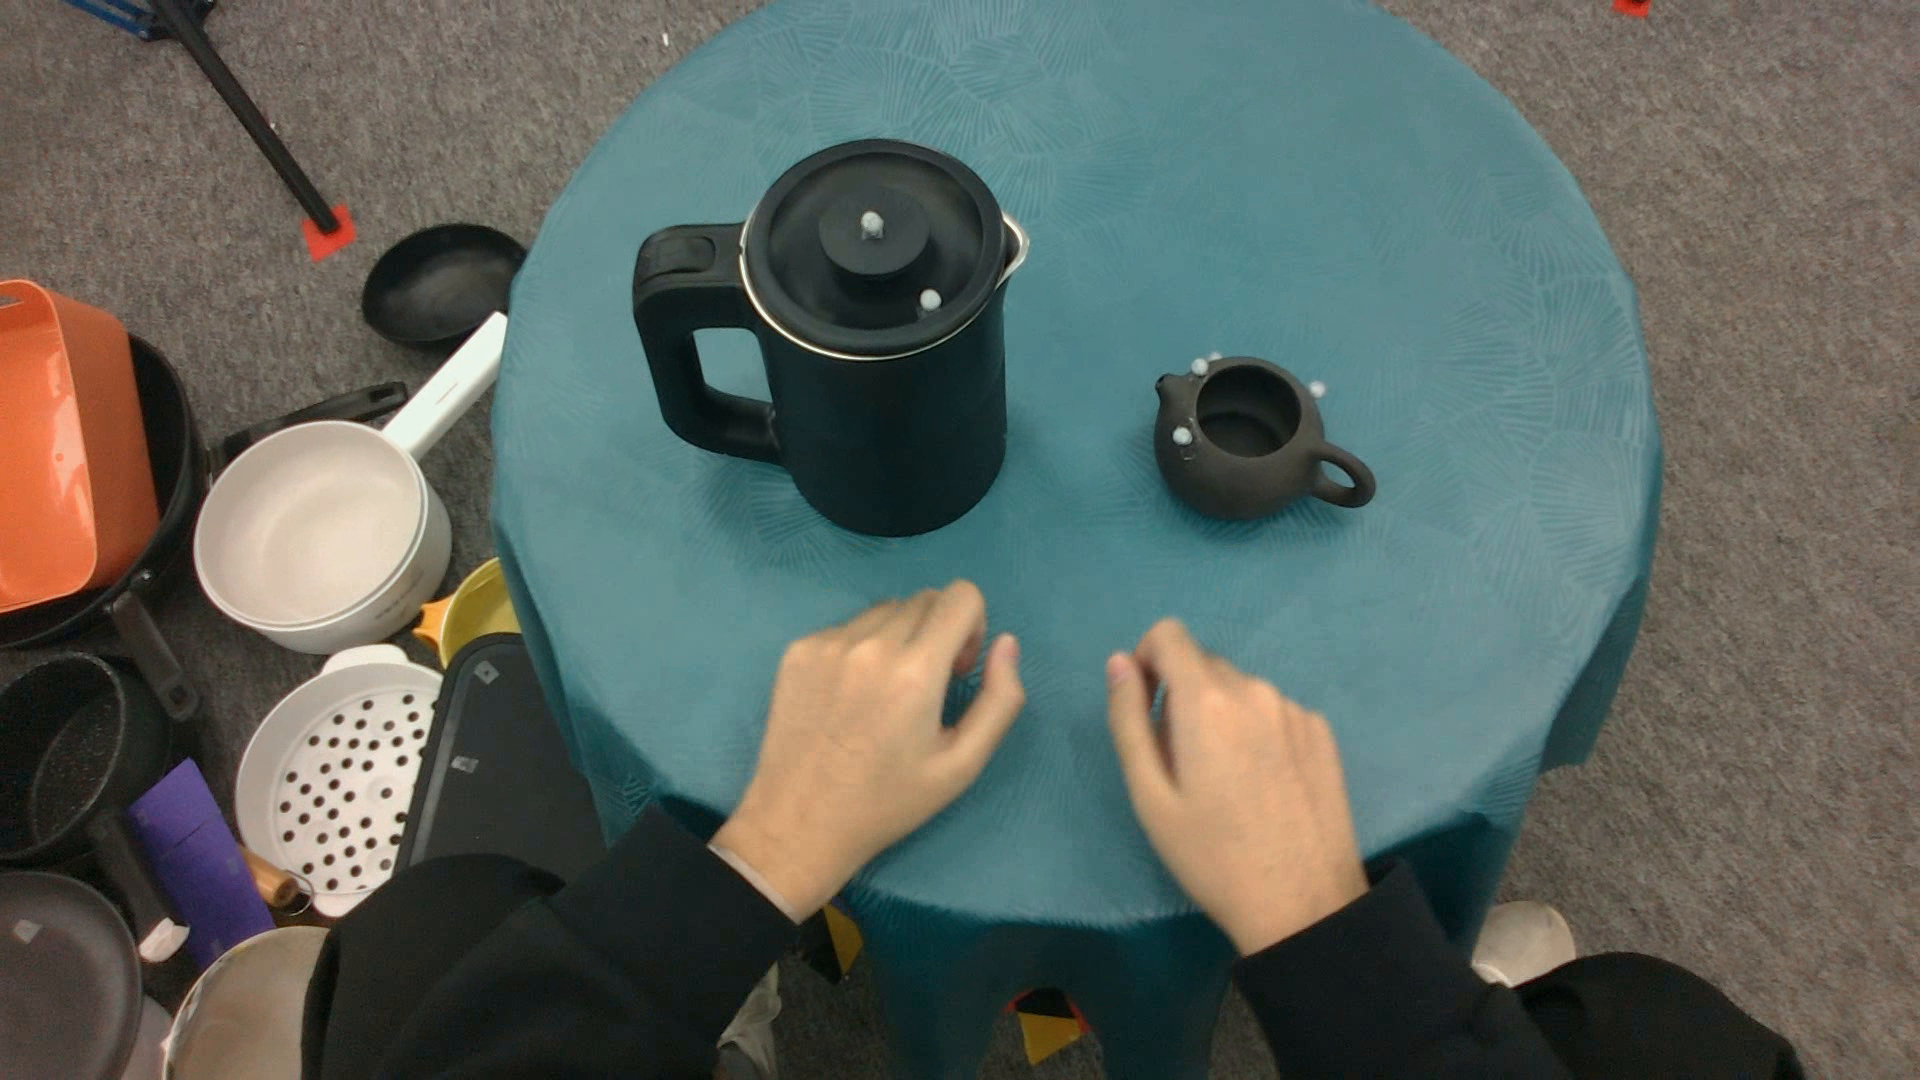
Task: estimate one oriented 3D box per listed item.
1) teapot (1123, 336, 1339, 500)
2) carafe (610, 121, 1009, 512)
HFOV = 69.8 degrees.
[{"bbox_3d":[0.131,-0.055,0.670,0.114,0.053,0.083,29,69,17],"label":"teapot"},{"bbox_3d":[-0.068,-0.096,0.625,0.171,0.172,0.115,-2,67,-3],"label":"carafe"}]
